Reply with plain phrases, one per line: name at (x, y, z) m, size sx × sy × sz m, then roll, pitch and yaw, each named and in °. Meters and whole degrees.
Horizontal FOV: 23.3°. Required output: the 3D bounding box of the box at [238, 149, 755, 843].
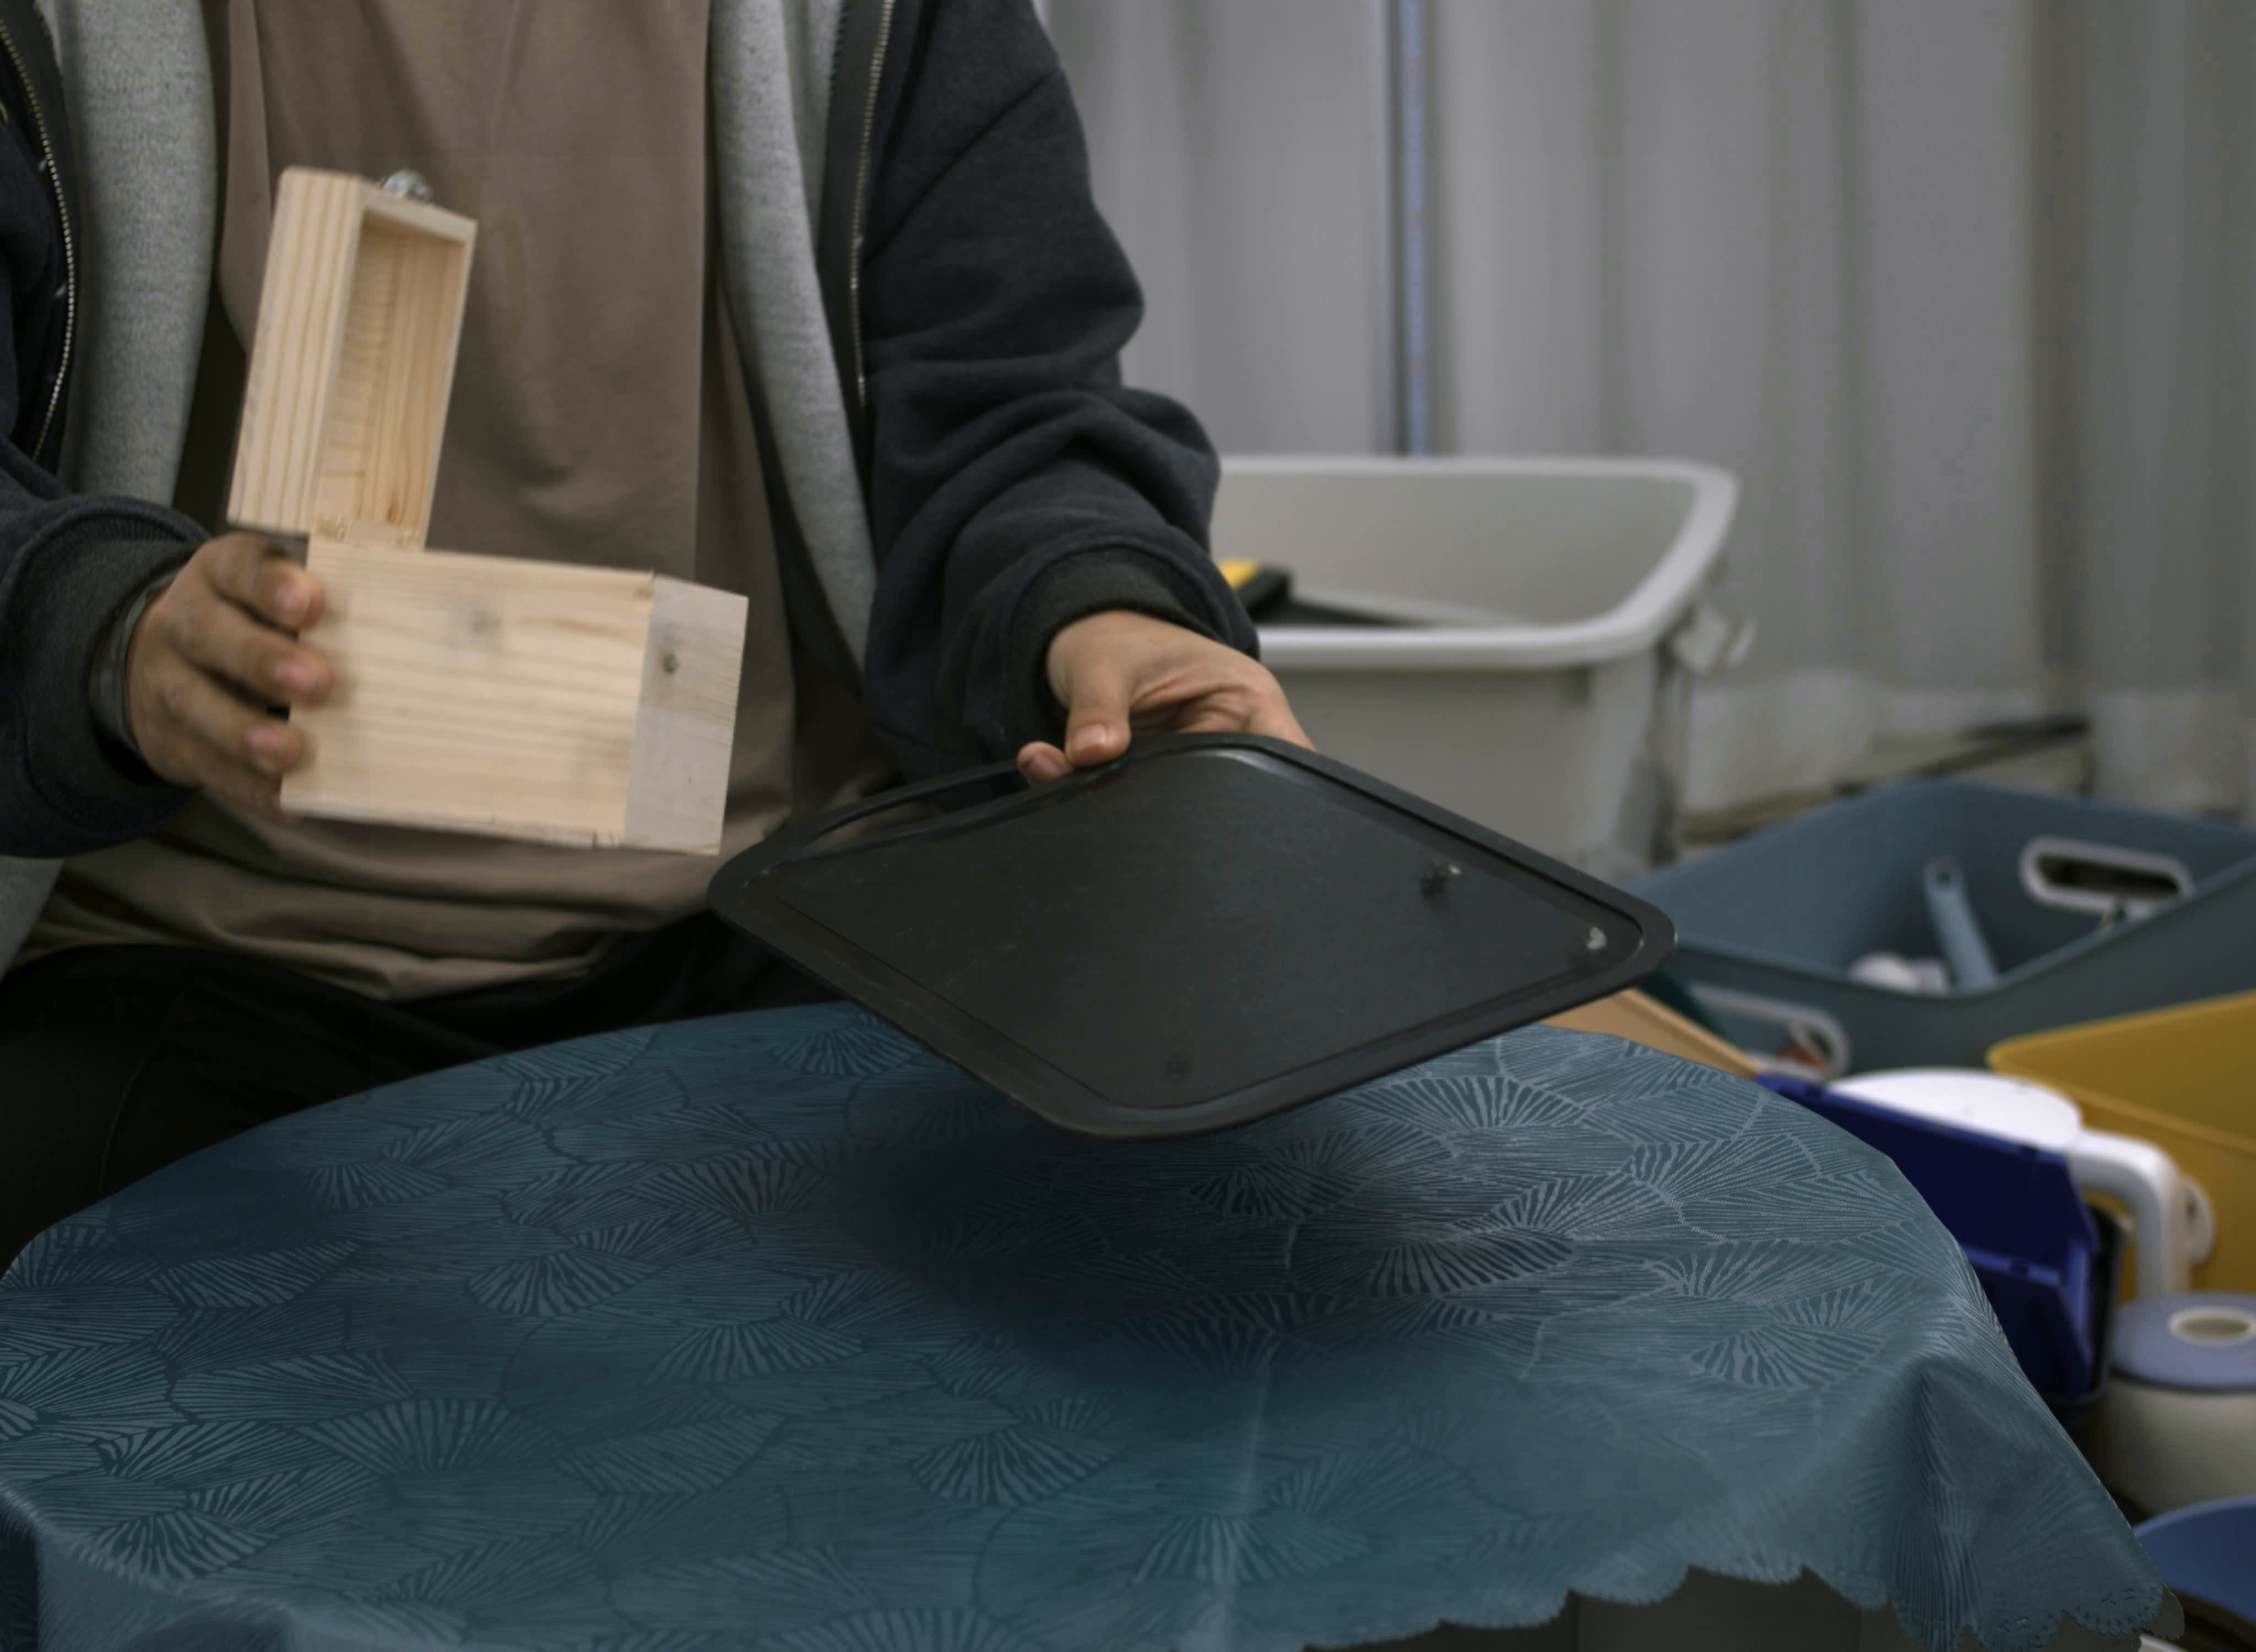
box at (-0.176, -0.094, 1.574) m, size 0.134 × 0.185 × 0.102 m, roll 6°, pitch -2°, yaw 12°

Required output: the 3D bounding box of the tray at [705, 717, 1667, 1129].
tray at (0.007, 0.022, 1.686) m, size 0.210 × 0.010 × 0.328 m, roll -18°, pitch 23°, yaw -24°
